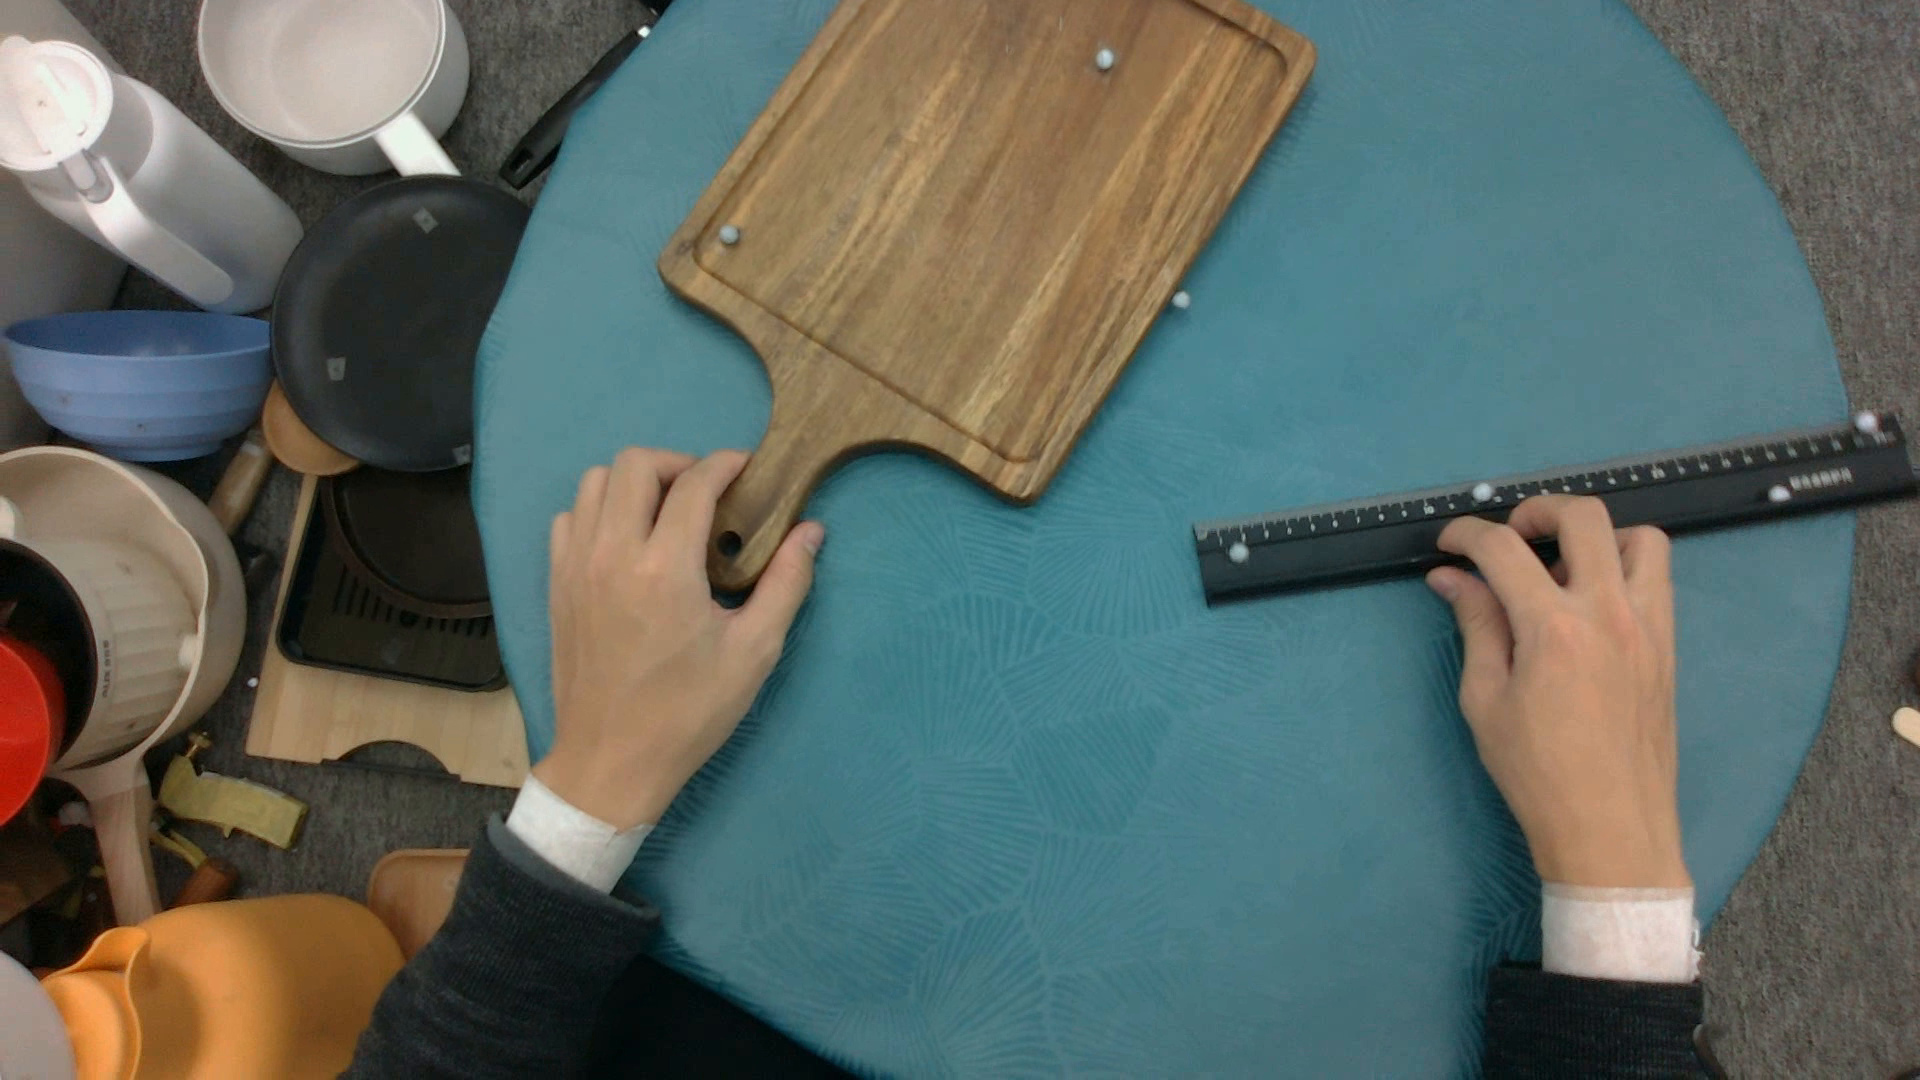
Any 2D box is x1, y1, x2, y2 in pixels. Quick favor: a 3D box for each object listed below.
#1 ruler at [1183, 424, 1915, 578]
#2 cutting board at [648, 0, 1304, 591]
[{"bbox_3d":[0.253,-0.019,0.591,0.312,0.017,0.039,-6,77,-2],"label":"ruler"},{"bbox_3d":[-0.016,-0.131,0.605,0.201,0.023,0.353,32,80,5],"label":"cutting board"}]
